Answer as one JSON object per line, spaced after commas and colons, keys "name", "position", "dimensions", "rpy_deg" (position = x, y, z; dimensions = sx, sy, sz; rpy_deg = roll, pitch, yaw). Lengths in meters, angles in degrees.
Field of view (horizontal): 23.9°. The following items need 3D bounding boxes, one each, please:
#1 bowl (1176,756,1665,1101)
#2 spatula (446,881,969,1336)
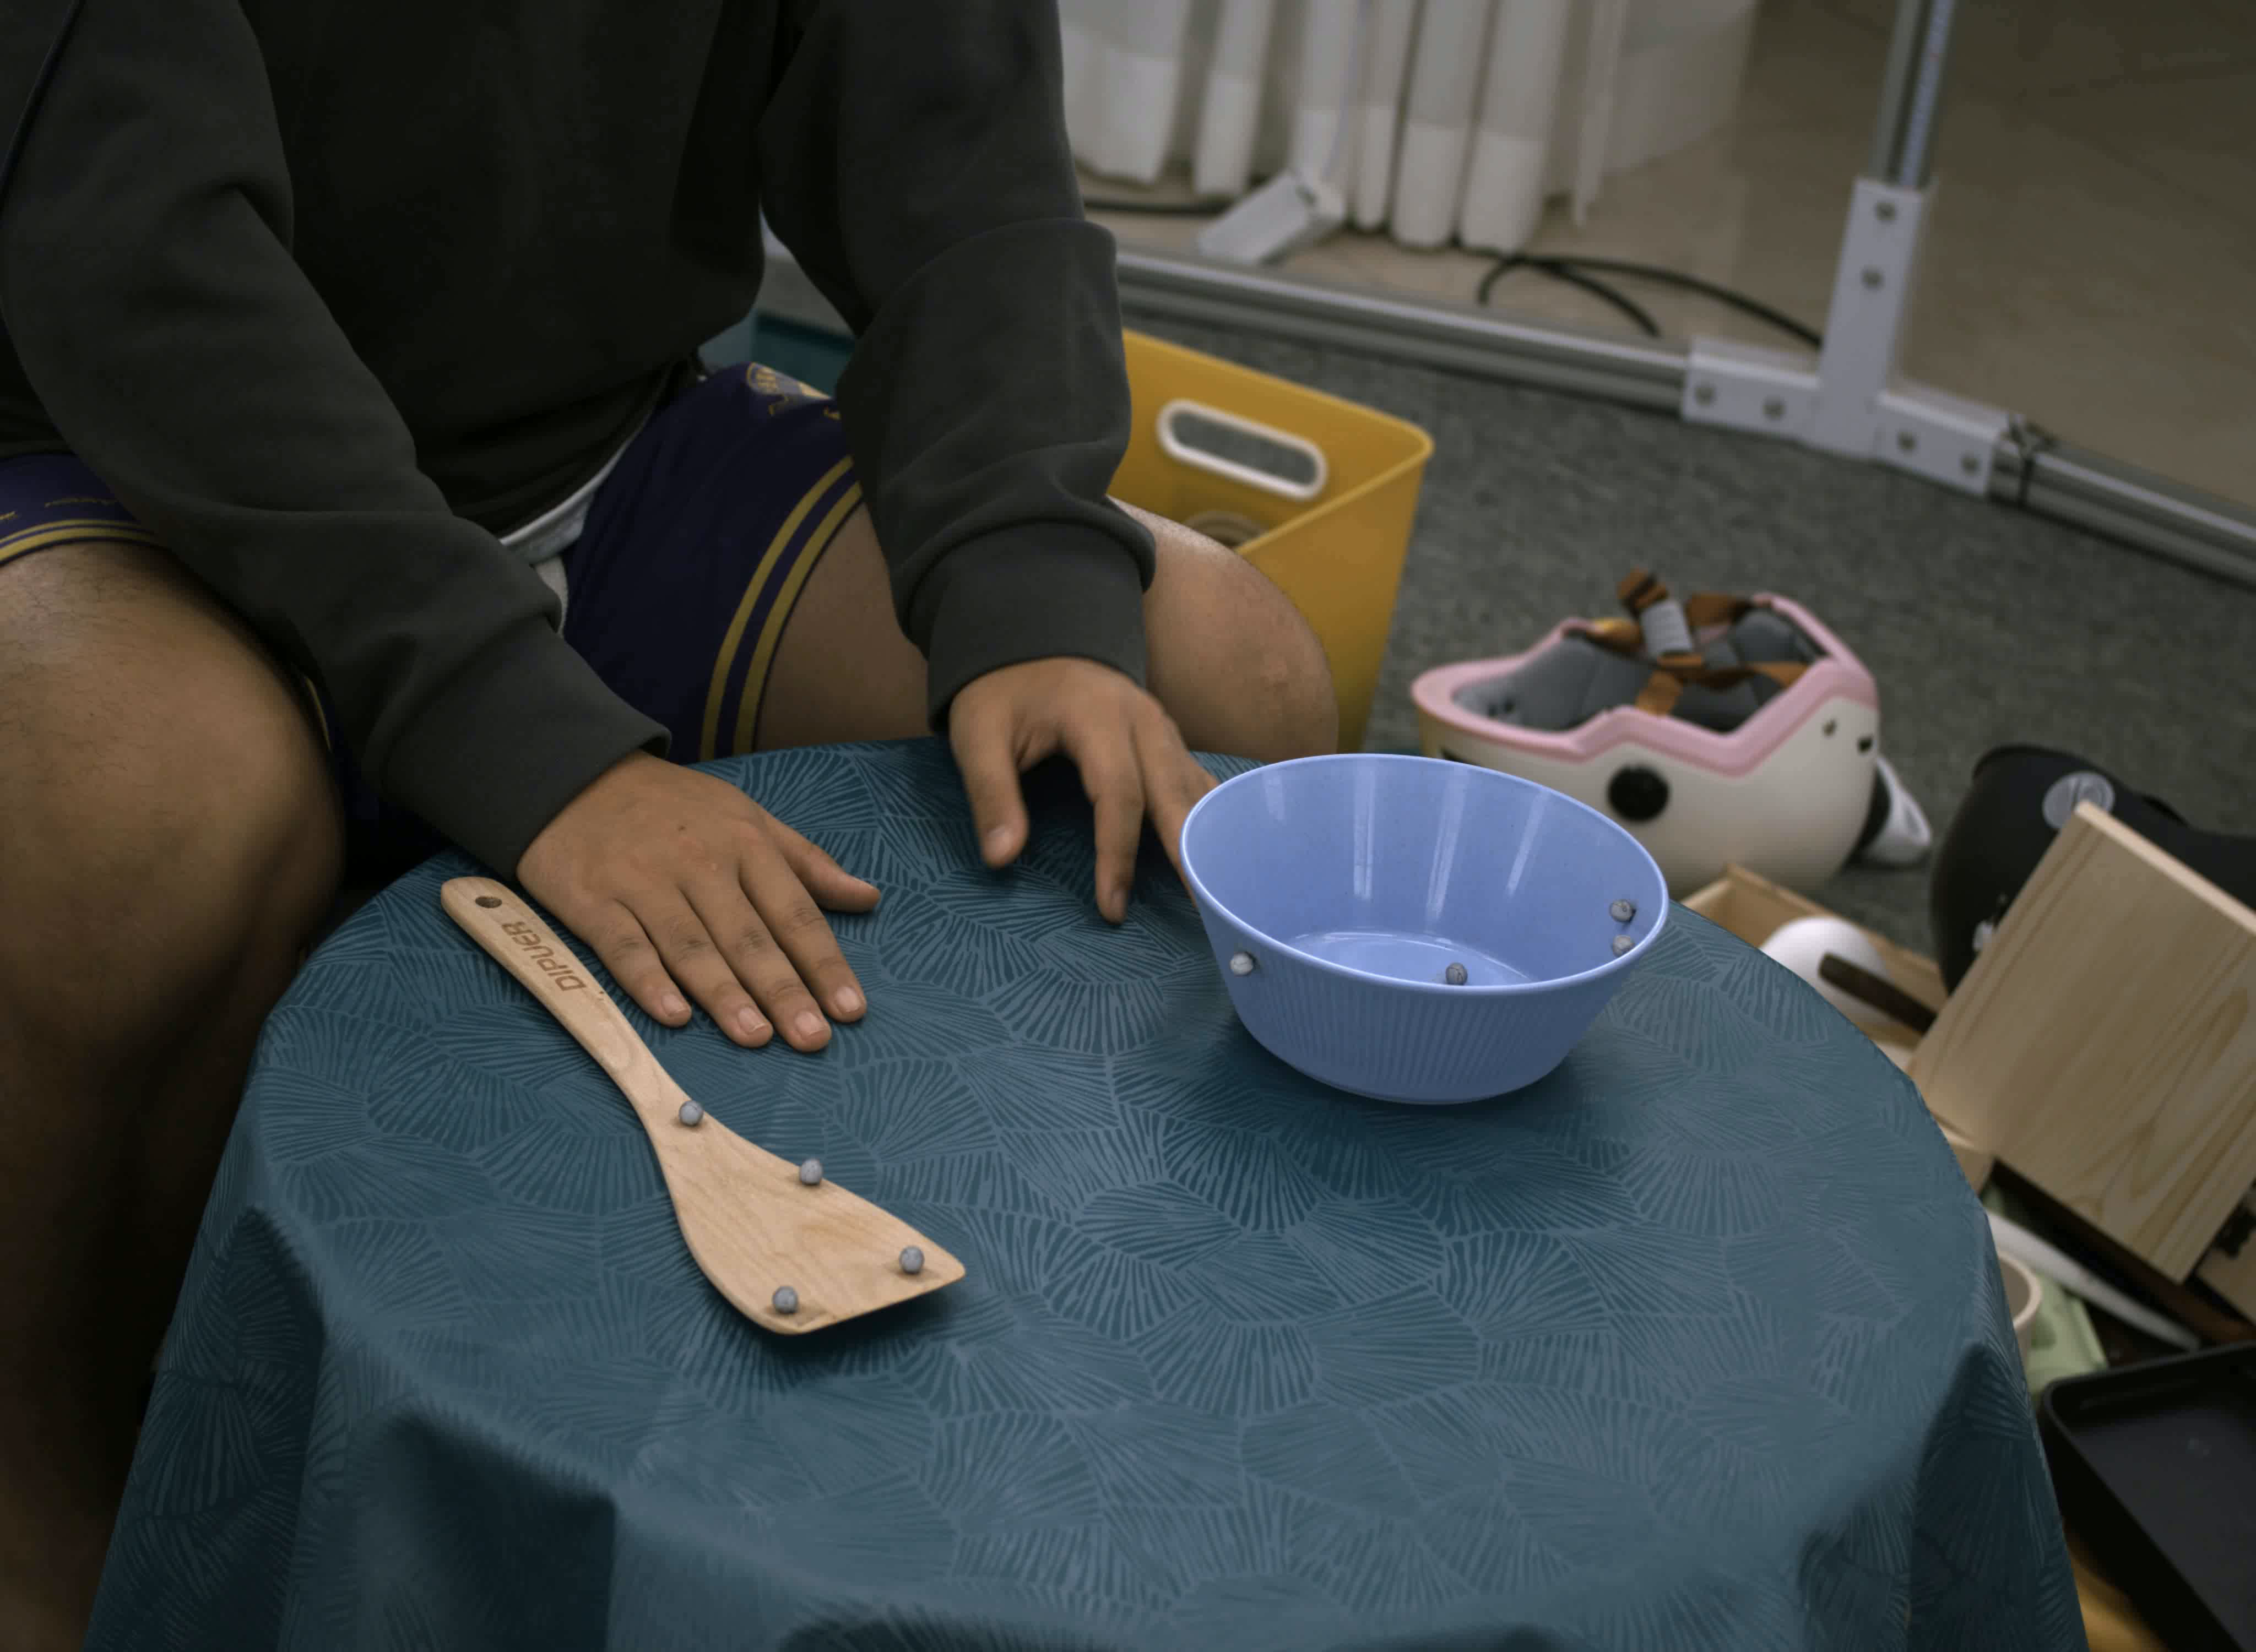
{"name": "bowl", "position": [0.101, 0.042, 1.906], "dimensions": [0.175, 0.070, 0.177], "rpy_deg": [5, 27, -3]}
{"name": "spatula", "position": [-0.158, 0.090, 1.815], "dimensions": [0.079, 0.016, 0.330], "rpy_deg": [-10, 31, -29]}
